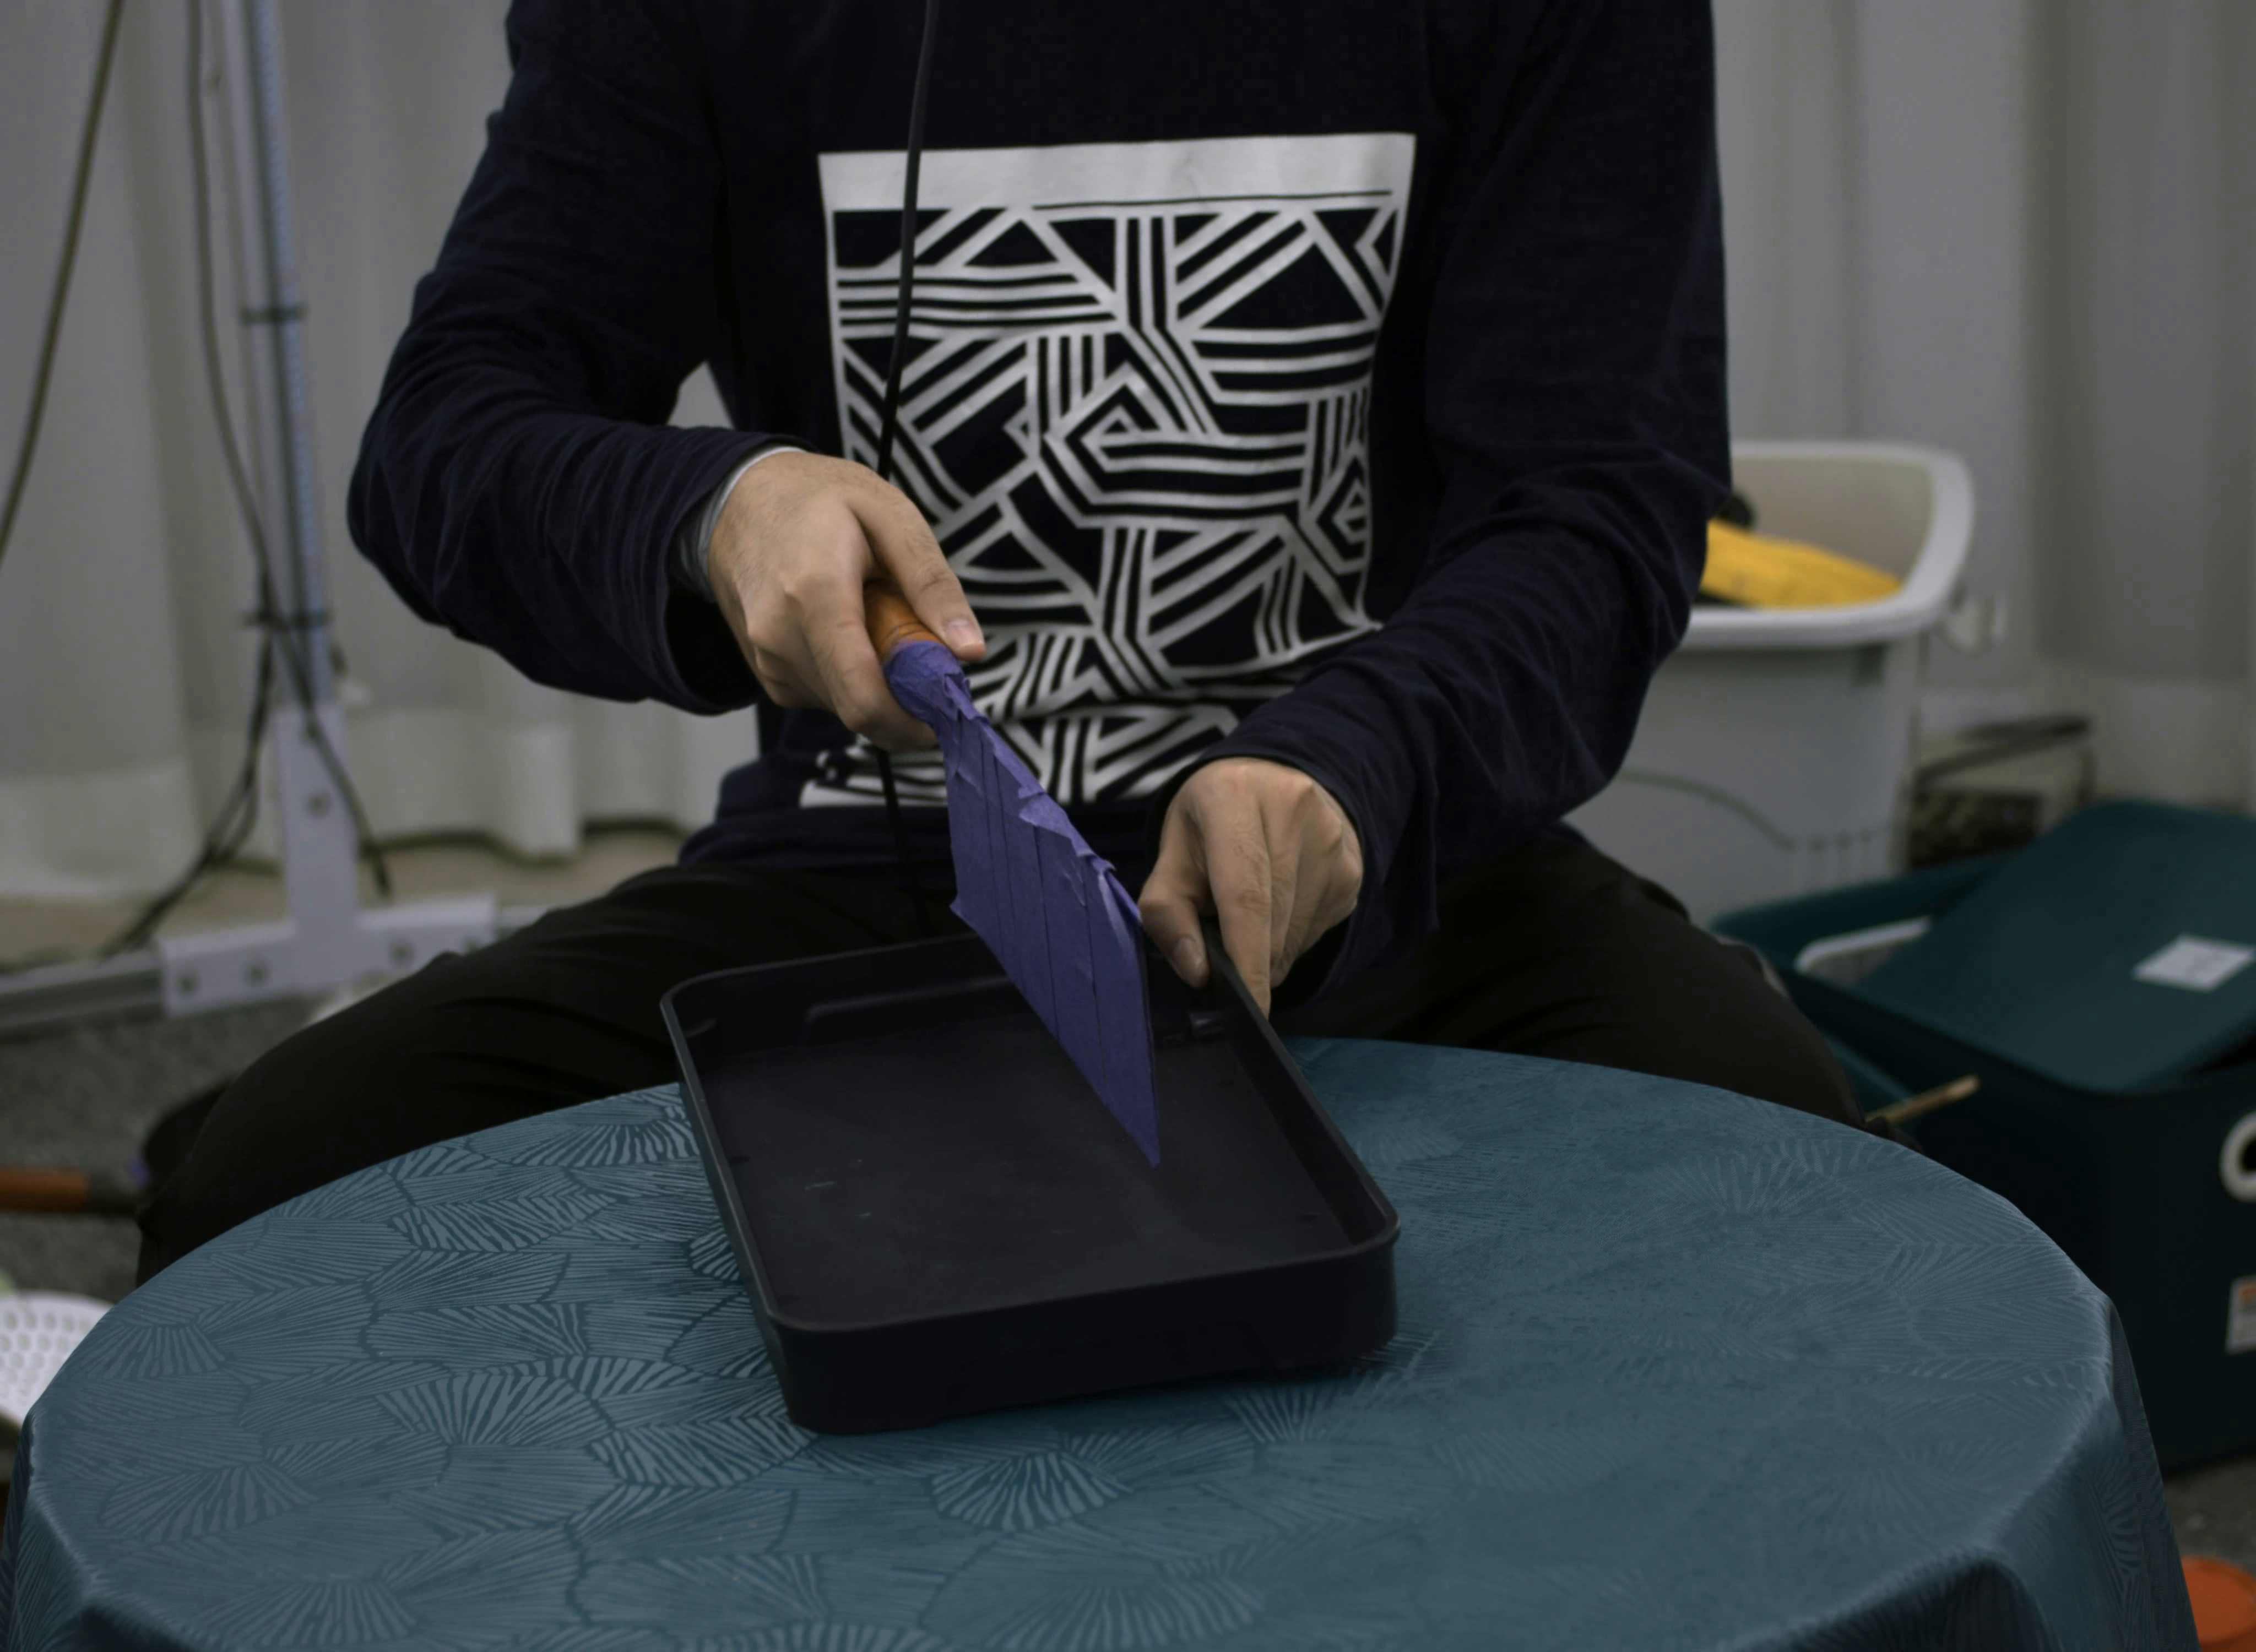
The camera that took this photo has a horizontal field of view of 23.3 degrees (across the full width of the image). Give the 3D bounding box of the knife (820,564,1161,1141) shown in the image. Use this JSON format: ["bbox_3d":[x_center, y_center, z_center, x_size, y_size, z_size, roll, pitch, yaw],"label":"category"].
[{"bbox_3d":[-0.046,0.007,1.764,0.032,0.103,0.319,-9,24,-14],"label":"knife"}]

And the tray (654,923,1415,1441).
[{"bbox_3d":[-0.035,0.102,1.670,0.183,0.037,0.320,-9,17,-10],"label":"tray"}]
